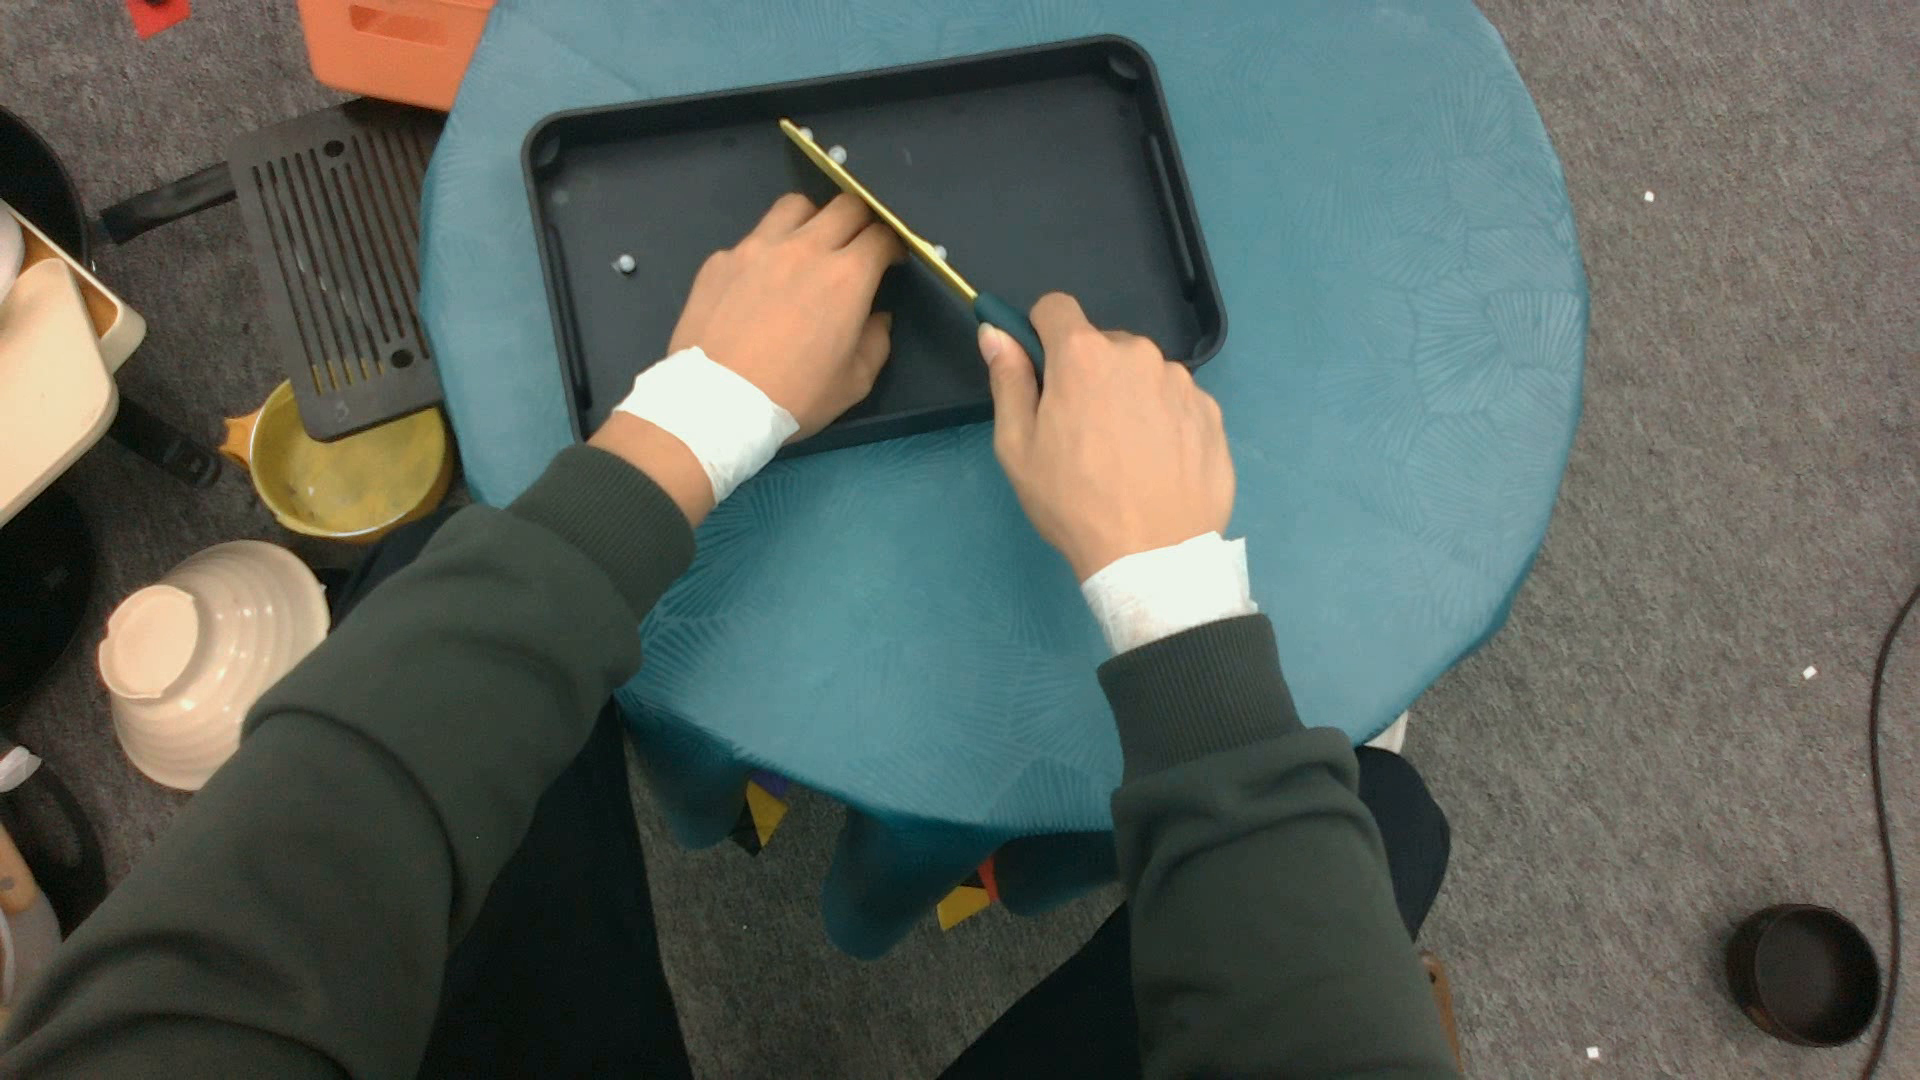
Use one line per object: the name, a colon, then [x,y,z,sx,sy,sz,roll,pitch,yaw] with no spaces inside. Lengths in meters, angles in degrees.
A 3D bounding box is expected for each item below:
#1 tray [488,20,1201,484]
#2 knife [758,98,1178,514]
tray: [-0.054,-0.146,0.678,0.318,0.037,0.184,-13,78,-11]
knife: [-0.003,-0.116,0.642,0.027,0.081,0.290,-45,74,6]
